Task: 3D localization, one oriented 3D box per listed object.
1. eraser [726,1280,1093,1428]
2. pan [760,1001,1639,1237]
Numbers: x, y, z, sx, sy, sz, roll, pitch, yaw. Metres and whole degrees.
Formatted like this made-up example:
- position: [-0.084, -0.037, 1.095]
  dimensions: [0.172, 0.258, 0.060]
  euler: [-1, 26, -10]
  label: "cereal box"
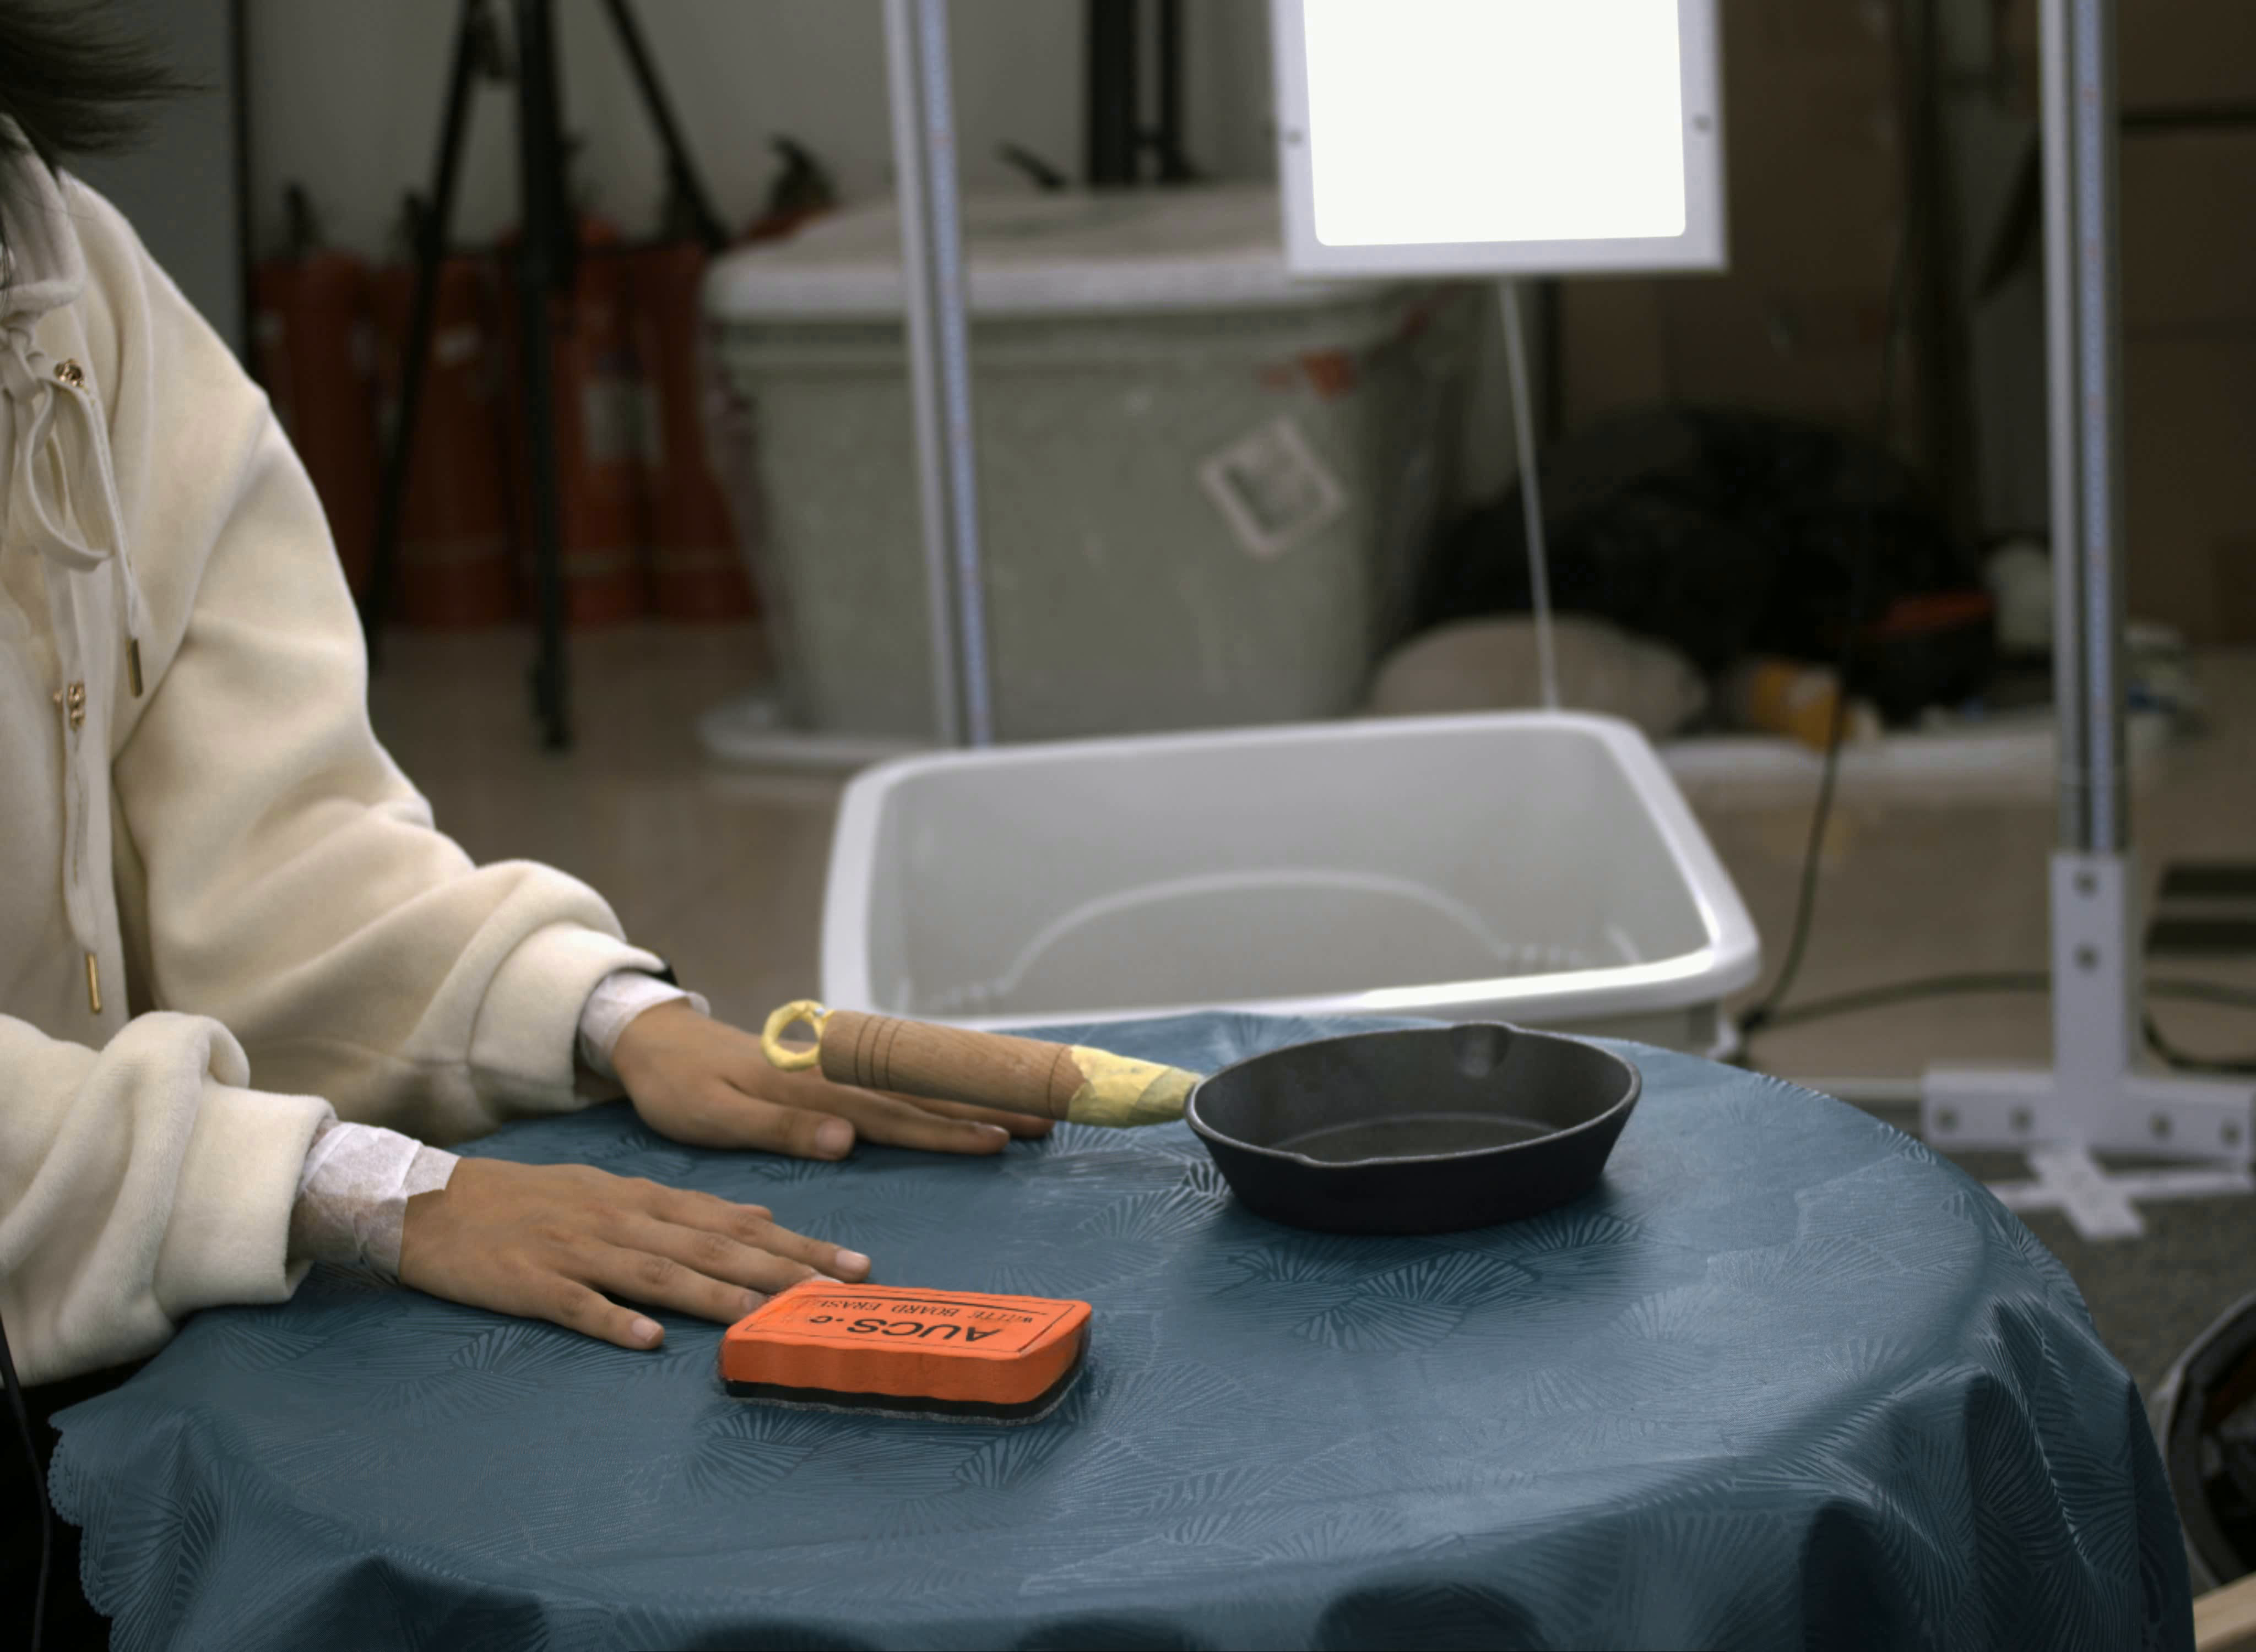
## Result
- position: [-0.068, 0.164, 1.721]
  dimensions: [0.110, 0.023, 0.058]
  euler: [3, 15, 28]
  label: "eraser"
- position: [0.020, 0.095, 1.915]
  dimensions: [0.329, 0.050, 0.165]
  euler: [3, 16, 25]
  label: "pan"
